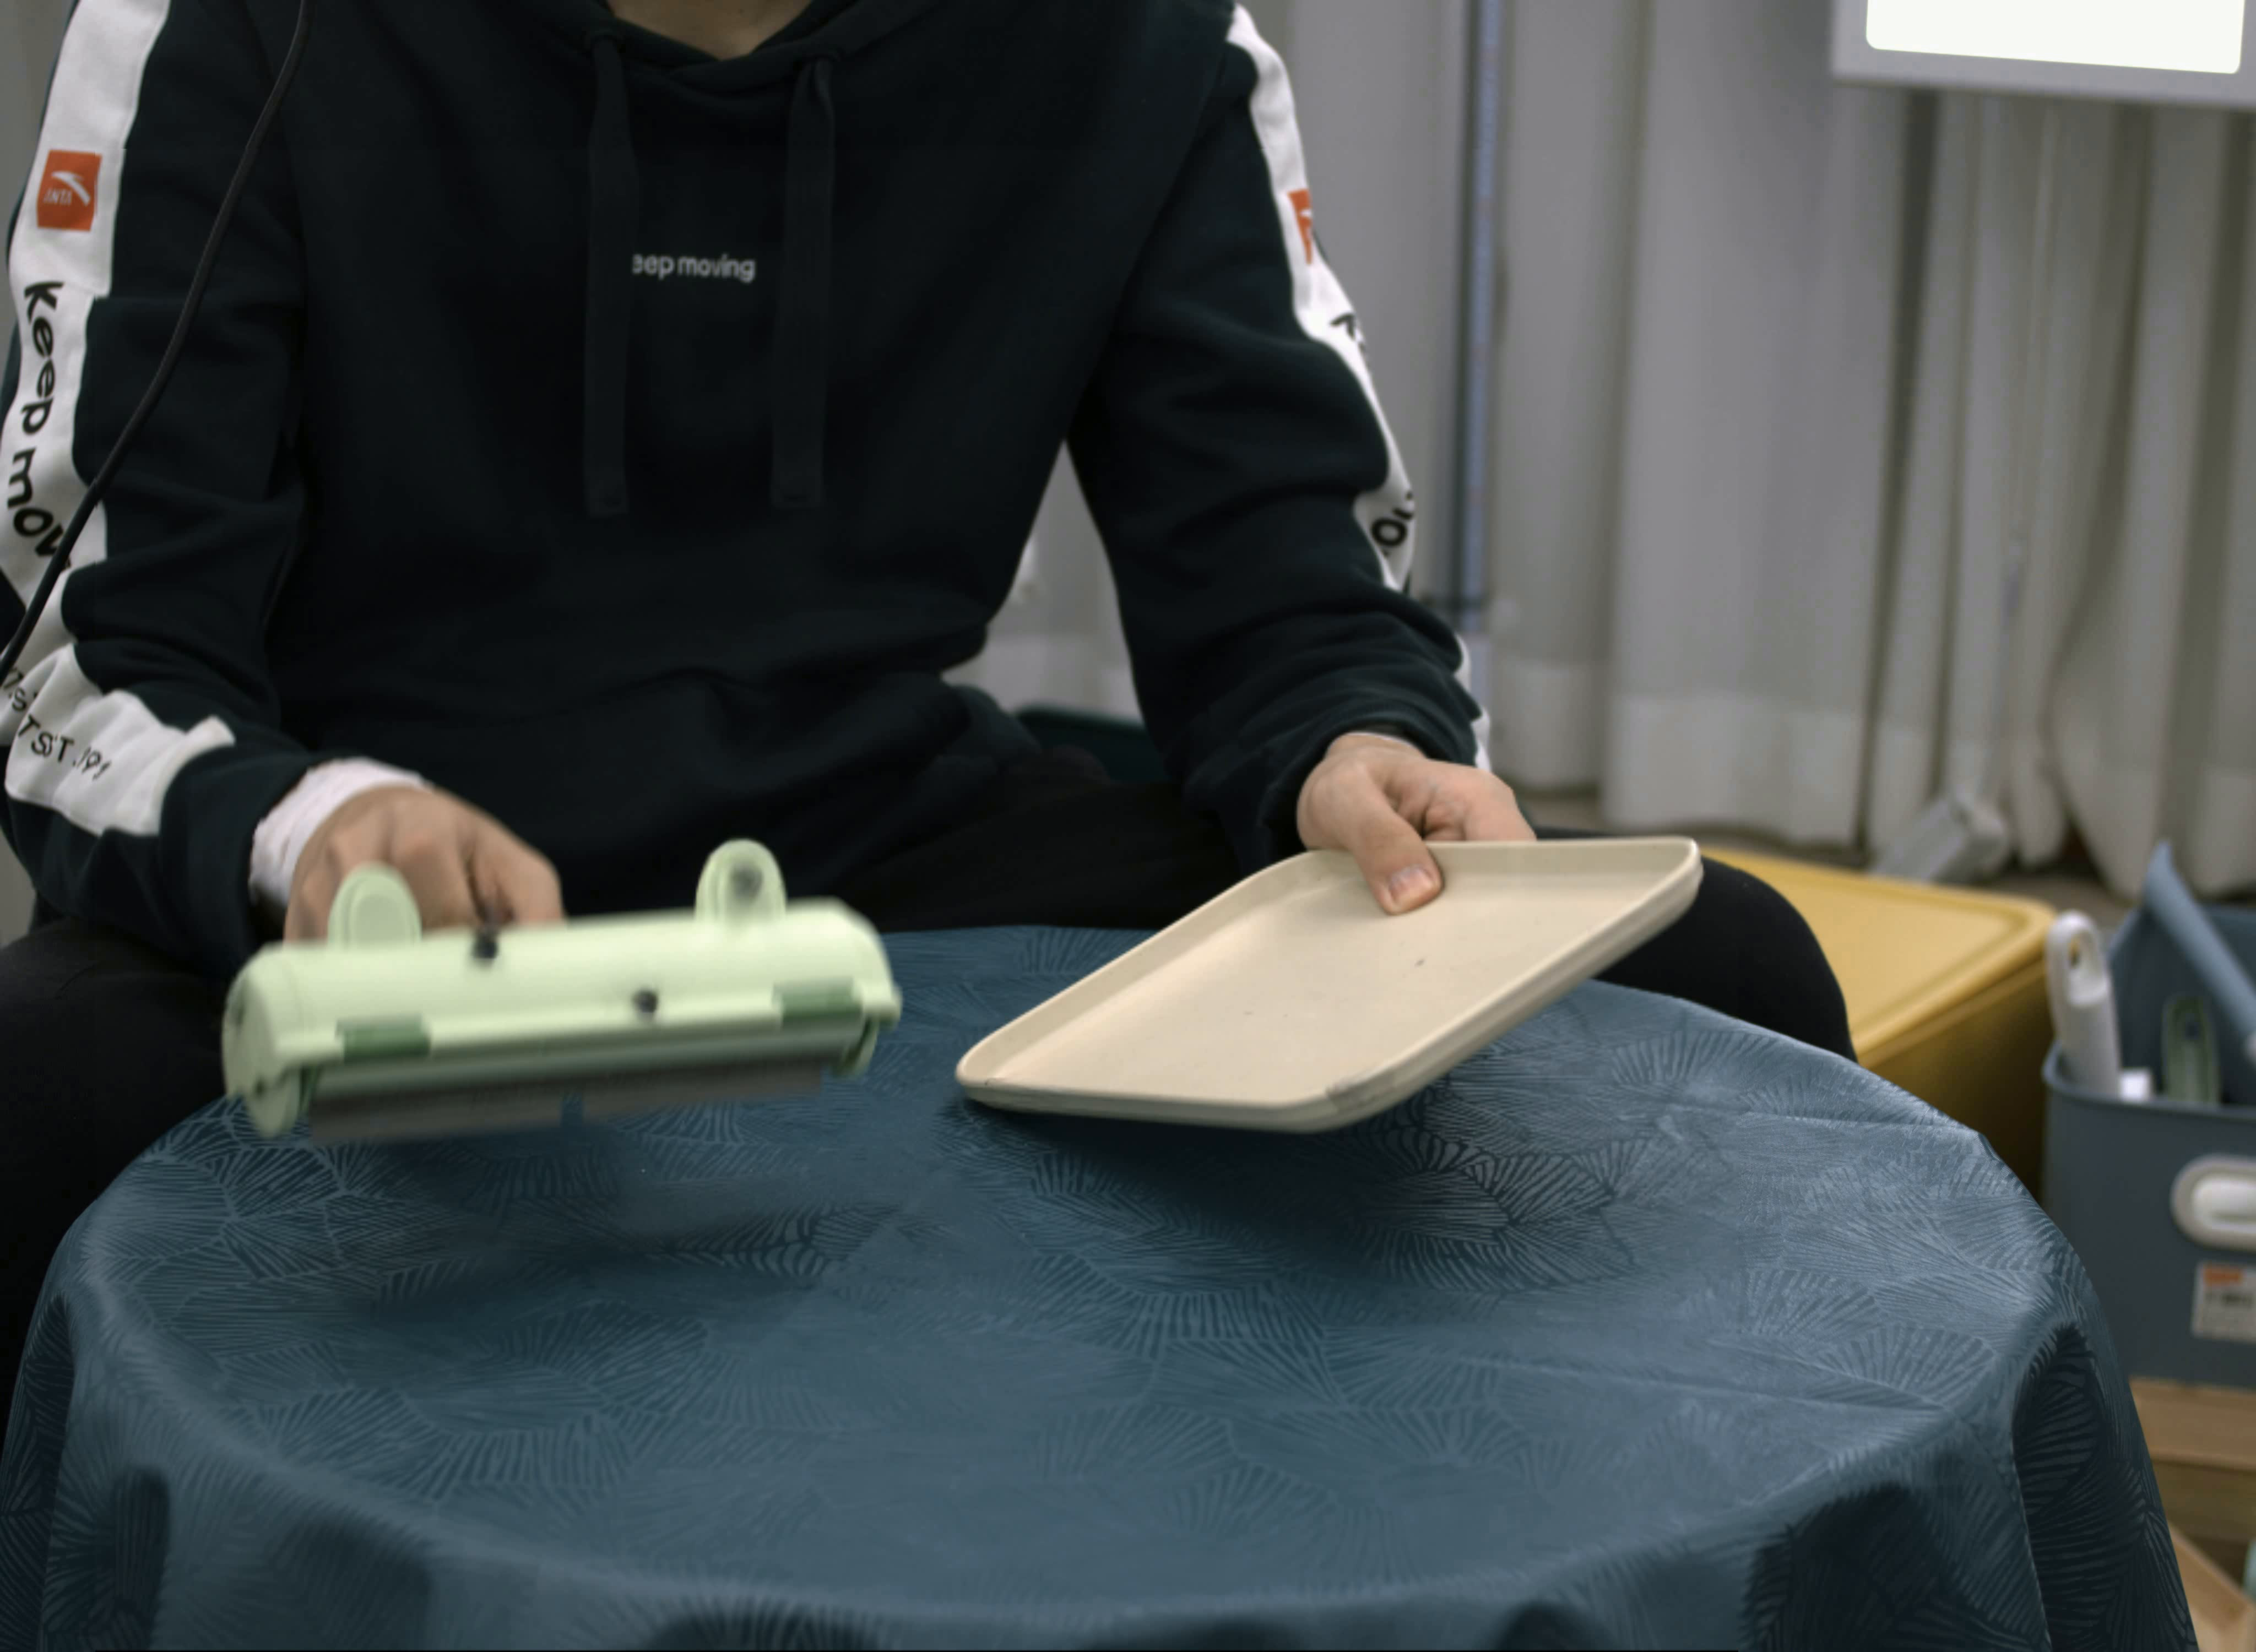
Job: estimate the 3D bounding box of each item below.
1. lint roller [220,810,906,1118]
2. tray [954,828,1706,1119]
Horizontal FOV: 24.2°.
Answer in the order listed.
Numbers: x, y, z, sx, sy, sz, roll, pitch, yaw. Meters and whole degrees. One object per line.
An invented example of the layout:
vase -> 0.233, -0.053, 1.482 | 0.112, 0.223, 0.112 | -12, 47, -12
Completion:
lint roller -> -0.189, 0.025, 1.582 | 0.199, 0.083, 0.181 | -5, 21, -27
tray -> 0.062, 0.048, 1.645 | 0.171, 0.017, 0.237 | -31, 14, -29
